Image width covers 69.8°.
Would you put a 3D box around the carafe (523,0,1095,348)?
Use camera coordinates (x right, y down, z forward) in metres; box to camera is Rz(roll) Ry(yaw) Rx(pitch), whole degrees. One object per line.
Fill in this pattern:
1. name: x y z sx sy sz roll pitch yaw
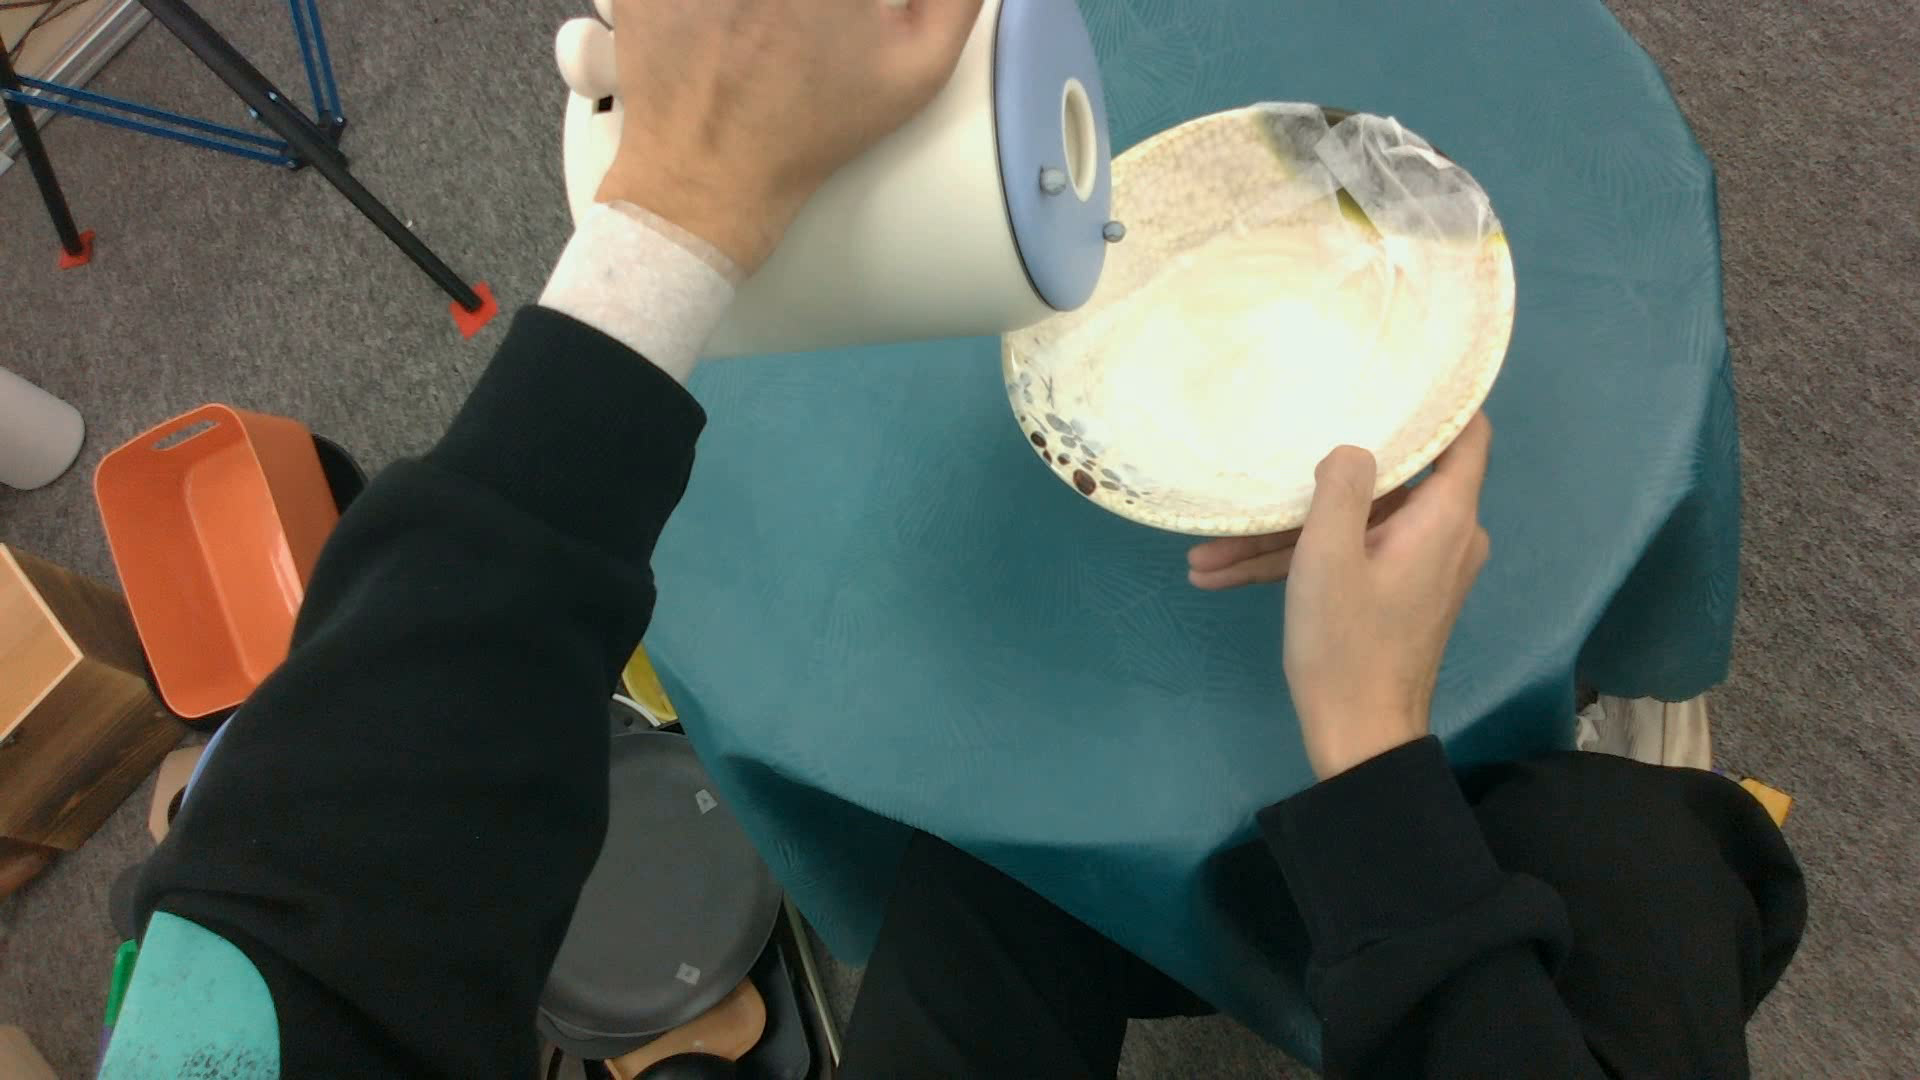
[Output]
1. carafe: -0.057 -0.151 0.501 0.182 0.191 0.132 -4 74 22

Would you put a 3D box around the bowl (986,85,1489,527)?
1. bowl: 0.119 -0.089 0.594 0.203 0.078 0.204 -7 68 17
